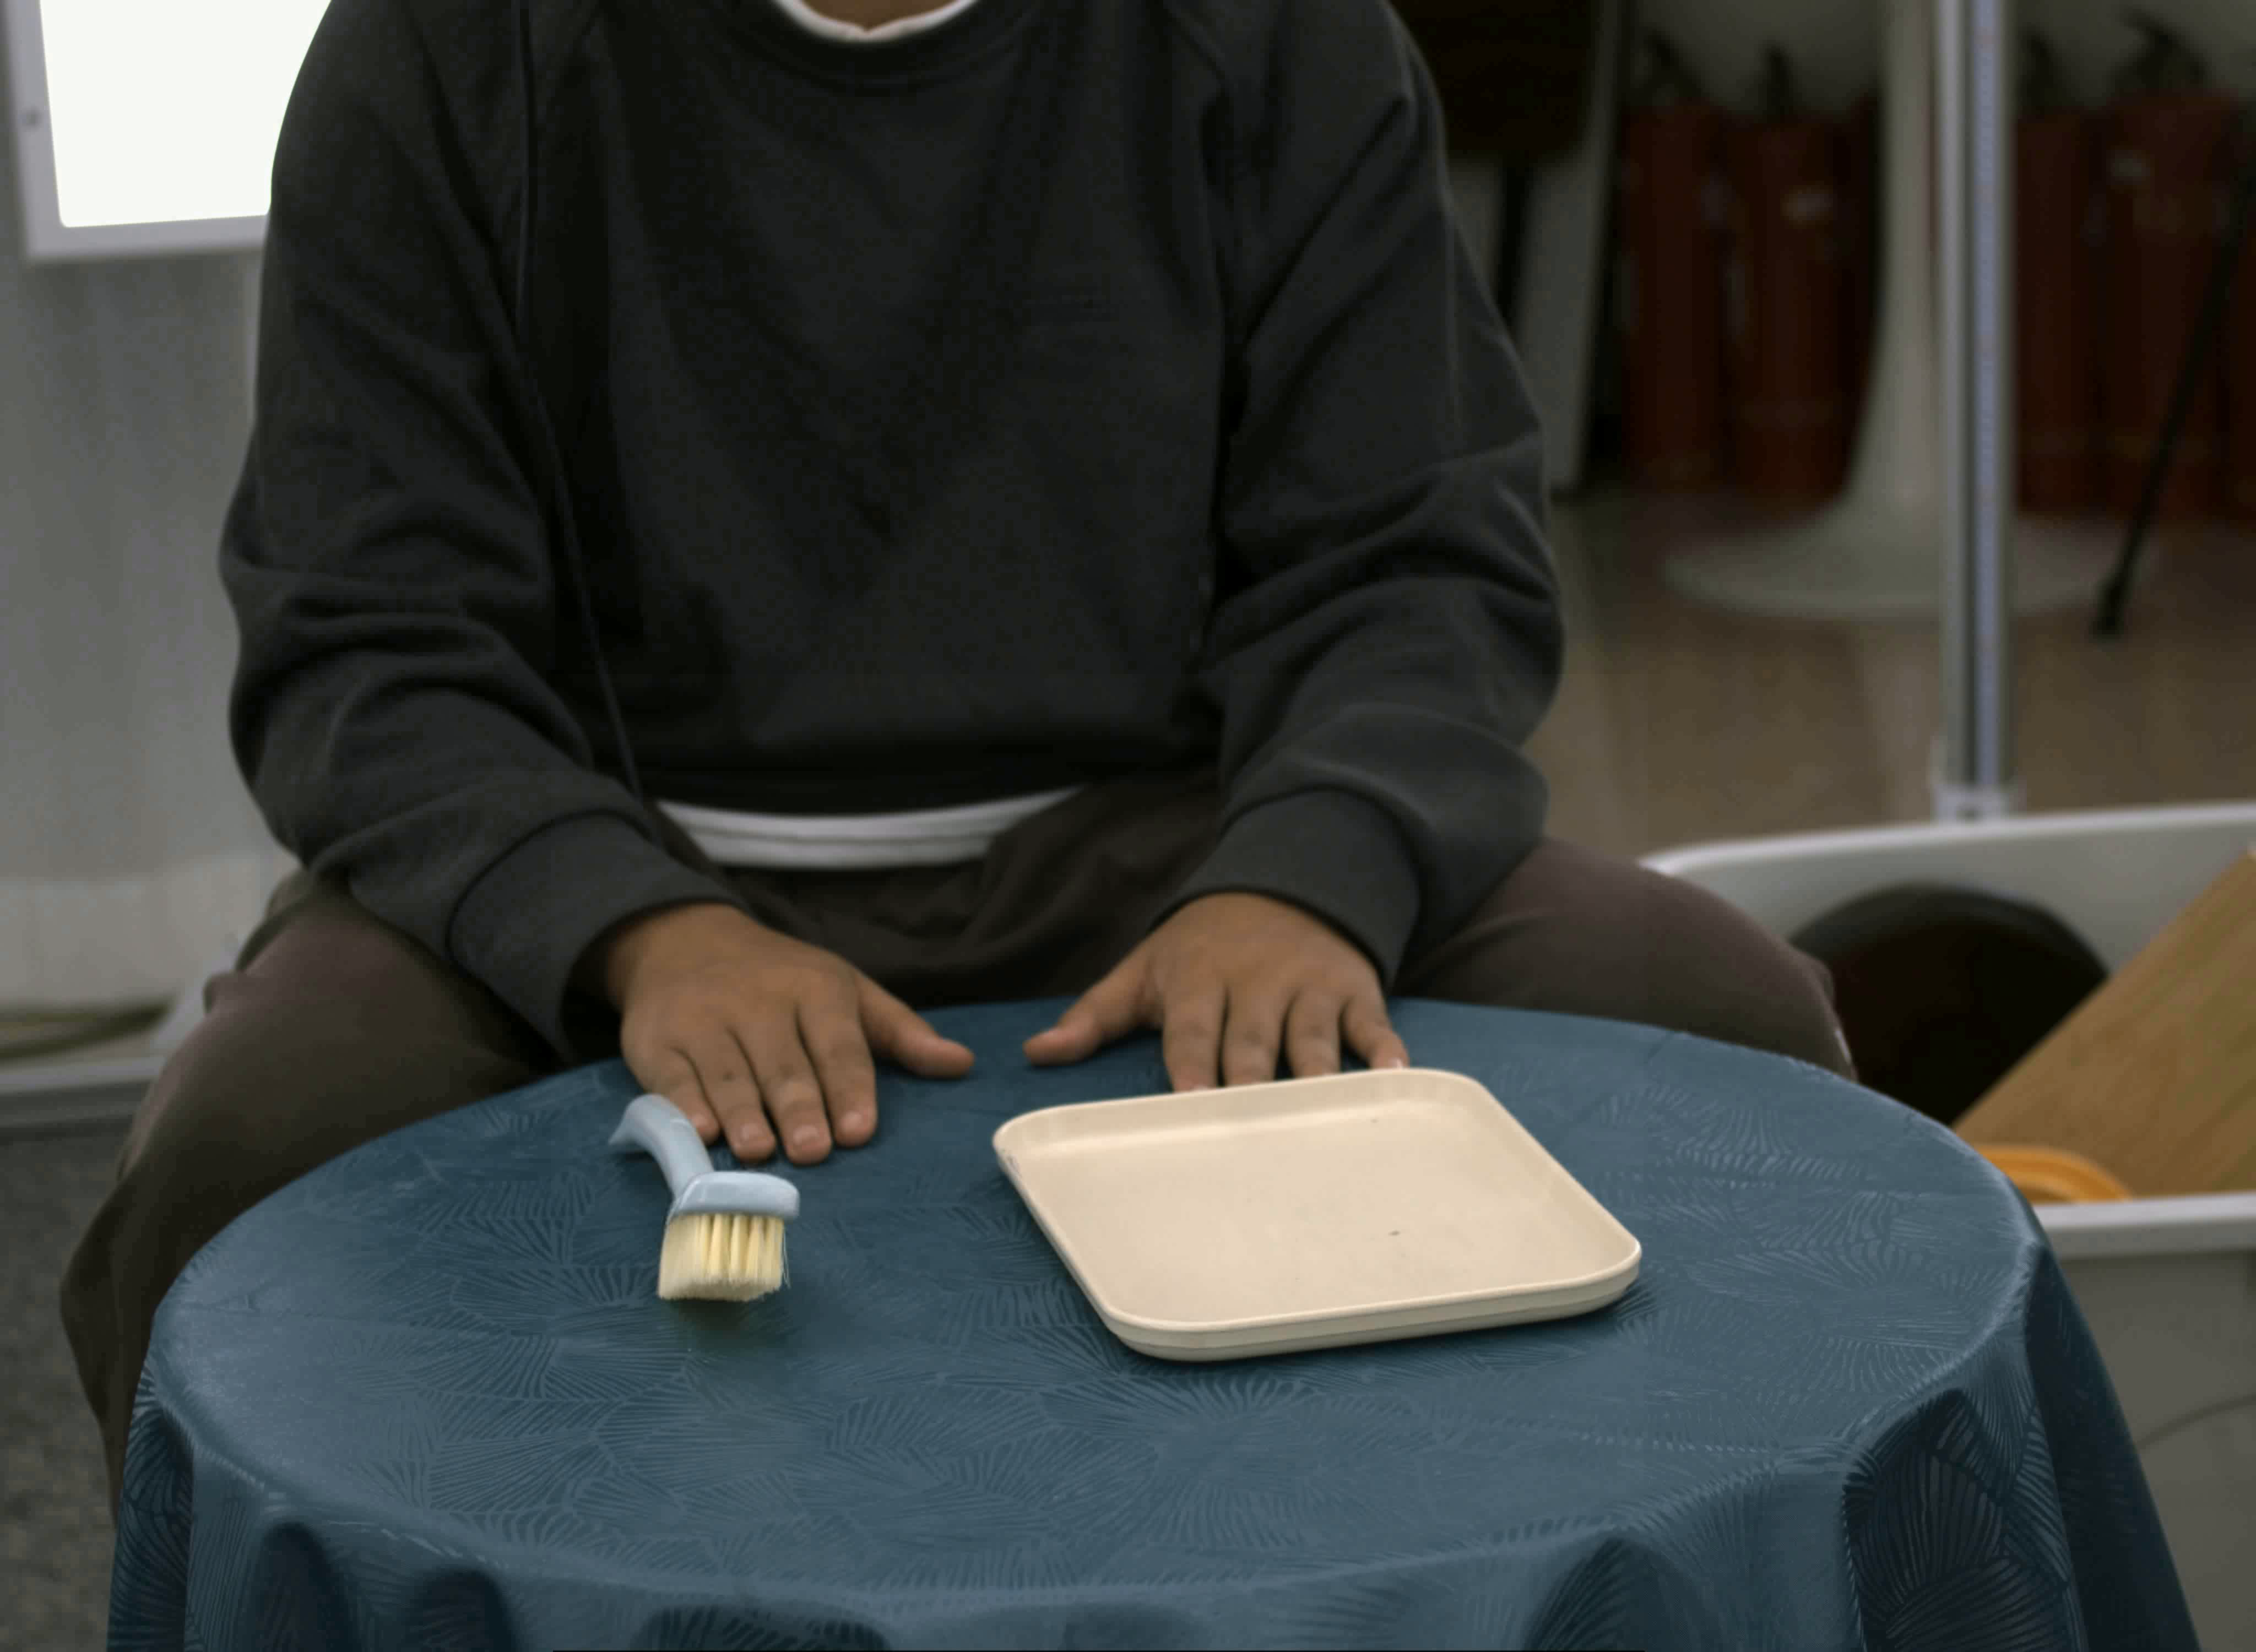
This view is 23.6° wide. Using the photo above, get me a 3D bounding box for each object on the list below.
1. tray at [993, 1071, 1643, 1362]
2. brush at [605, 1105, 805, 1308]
[{"bbox_3d":[0.056,0.123,1.713,0.168,0.017,0.241,-6,14,-10],"label":"tray"},{"bbox_3d":[-0.142,0.123,1.740,0.037,0.050,0.230,6,3,-16],"label":"brush"}]
